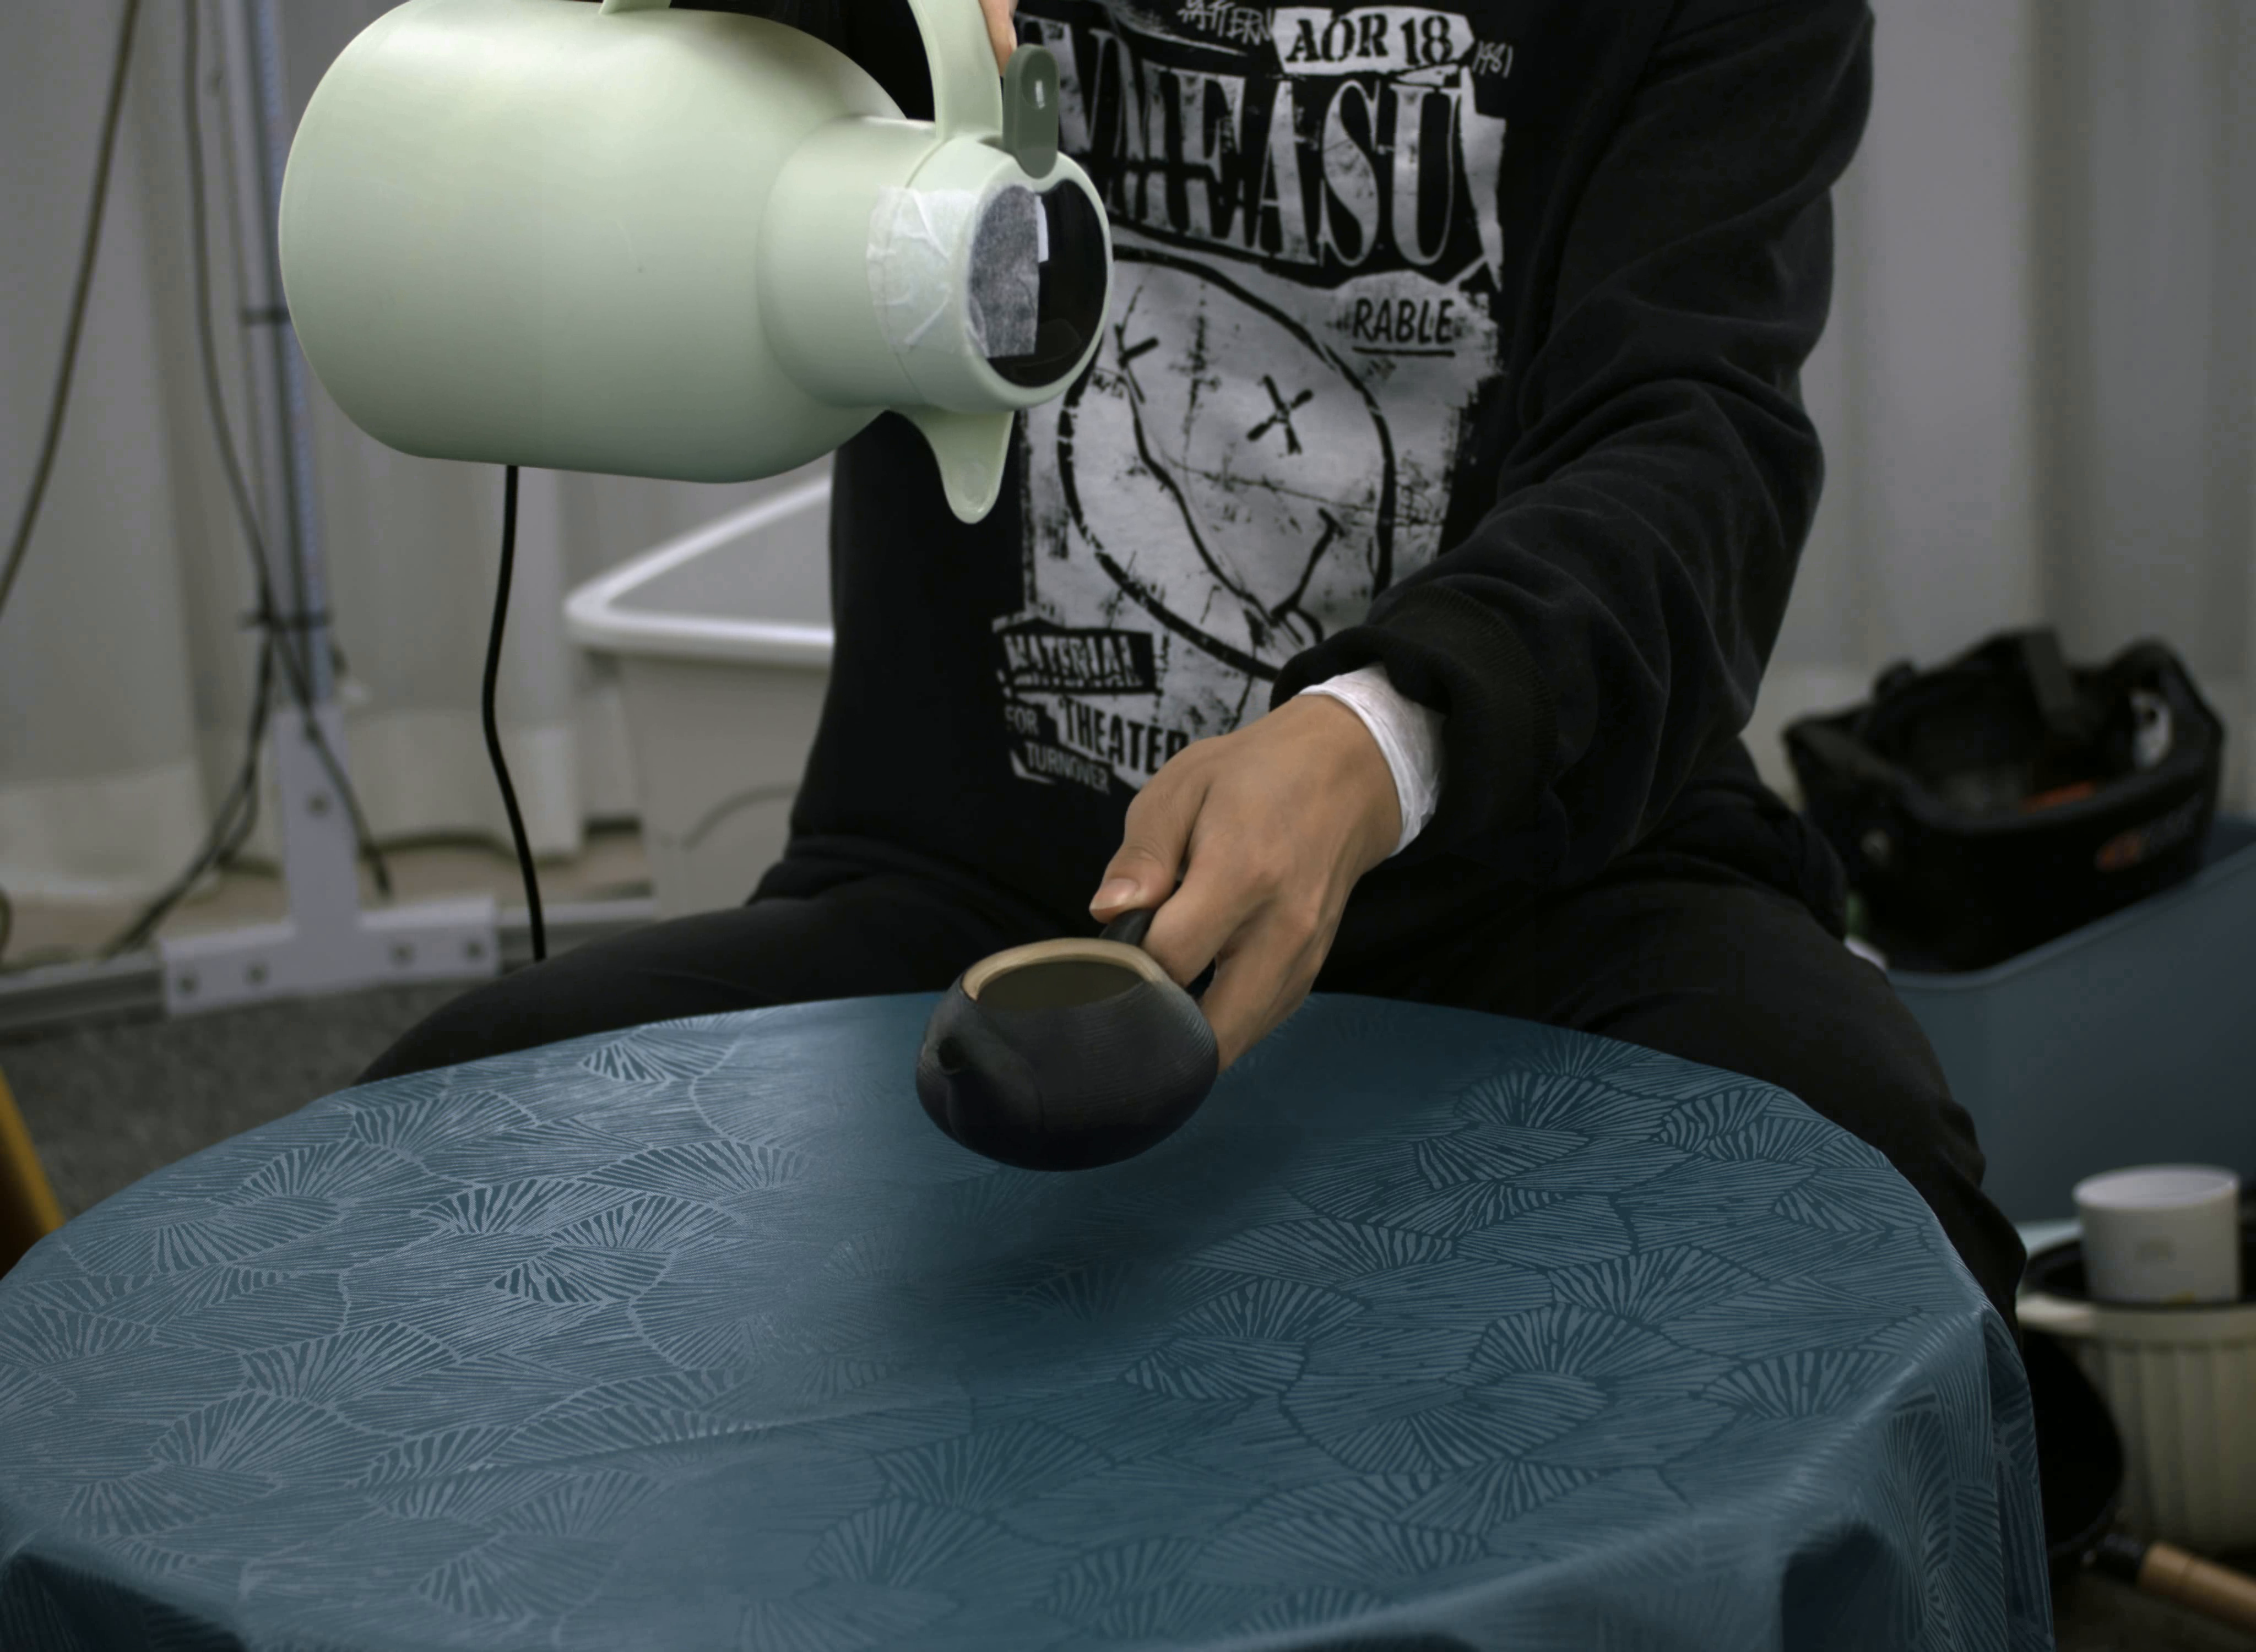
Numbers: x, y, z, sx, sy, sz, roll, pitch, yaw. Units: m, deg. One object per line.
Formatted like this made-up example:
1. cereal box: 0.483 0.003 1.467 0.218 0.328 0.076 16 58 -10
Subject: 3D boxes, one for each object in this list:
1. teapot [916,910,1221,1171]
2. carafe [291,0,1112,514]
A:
1. teapot: -0.018 0.068 1.622 0.091 0.053 0.133 6 23 27
2. carafe: -0.123 -0.191 1.651 0.258 0.186 0.144 6 12 40
